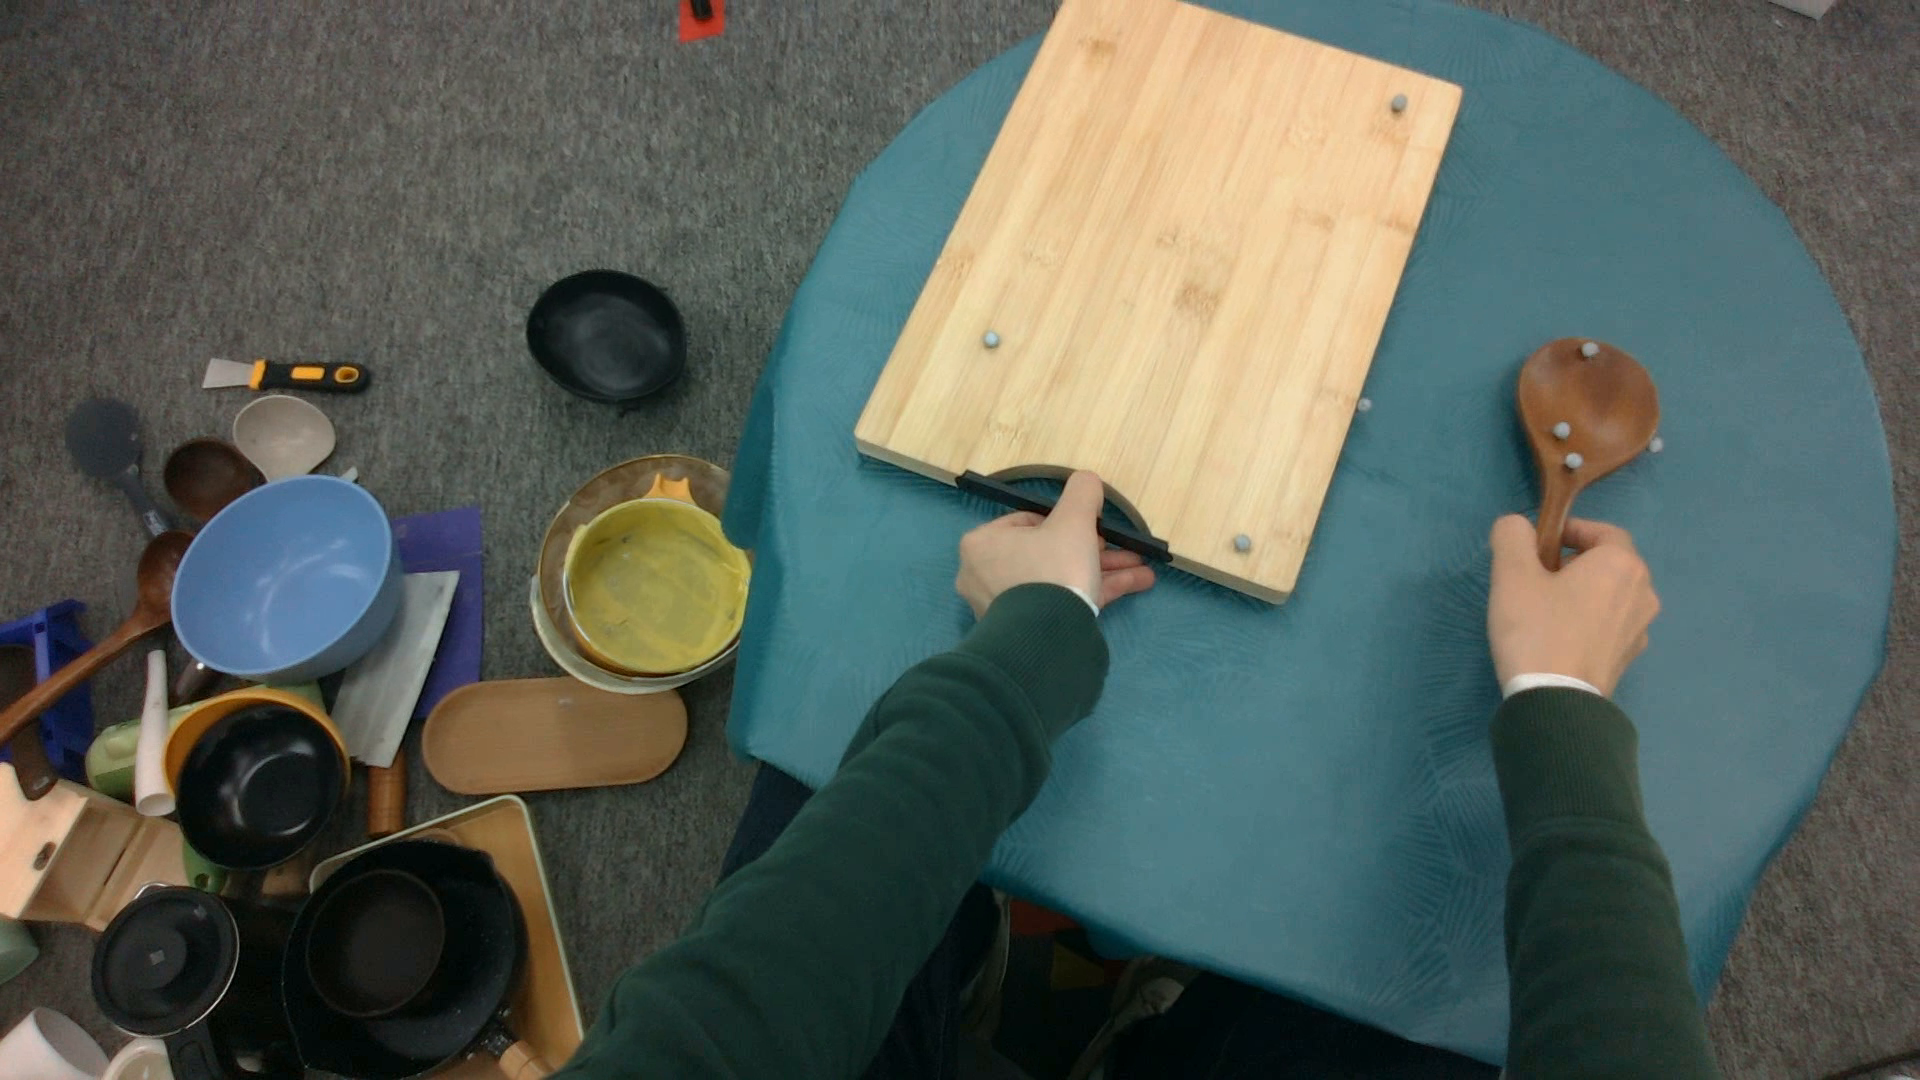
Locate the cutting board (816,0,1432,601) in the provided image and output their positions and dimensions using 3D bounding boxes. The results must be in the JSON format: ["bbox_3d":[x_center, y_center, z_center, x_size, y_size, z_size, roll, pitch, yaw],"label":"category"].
[{"bbox_3d":[0.101,-0.159,0.767,0.250,0.023,0.350,19,68,8],"label":"cutting board"}]

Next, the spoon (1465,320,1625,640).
[{"bbox_3d":[0.289,-0.035,0.698,0.075,0.017,0.217,24,56,8],"label":"spoon"}]
